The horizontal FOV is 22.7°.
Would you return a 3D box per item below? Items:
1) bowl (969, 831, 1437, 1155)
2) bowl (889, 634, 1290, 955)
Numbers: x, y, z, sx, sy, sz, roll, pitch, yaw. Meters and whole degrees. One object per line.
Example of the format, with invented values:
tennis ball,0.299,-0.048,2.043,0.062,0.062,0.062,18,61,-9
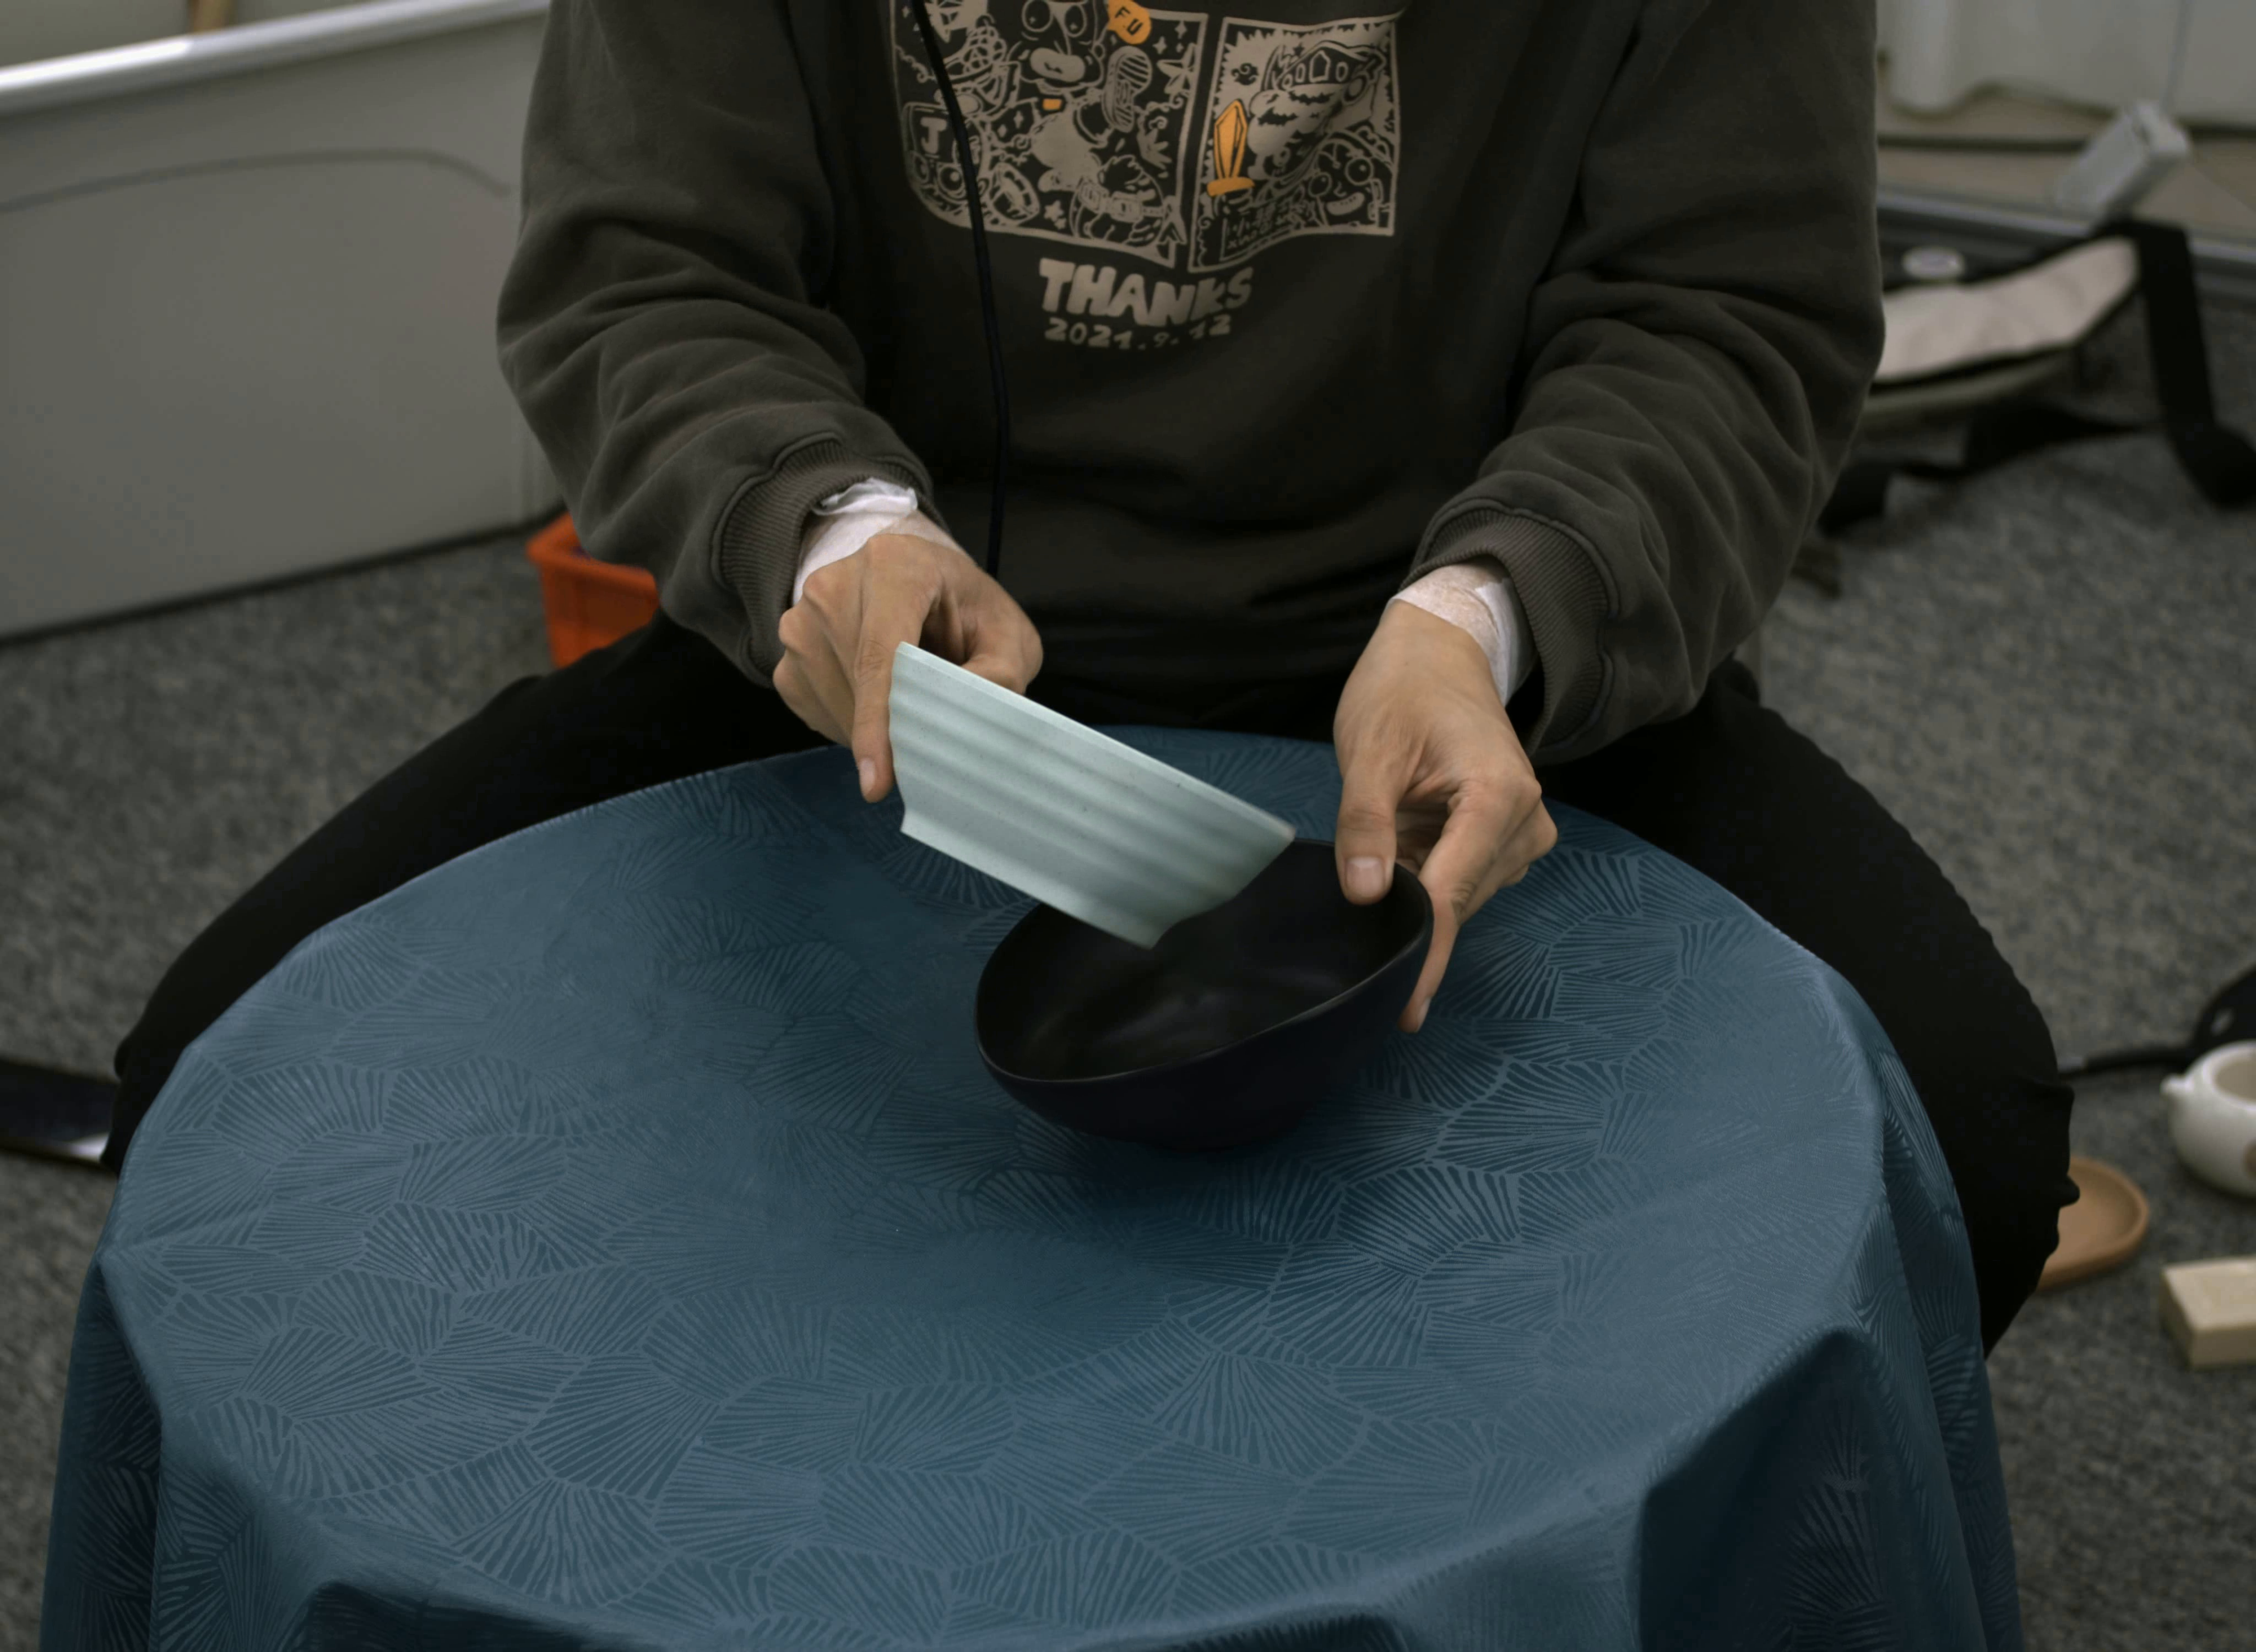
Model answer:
bowl,0.028,0.066,1.885,0.172,0.066,0.137,-27,32,-32
bowl,-0.023,-0.004,1.865,0.151,0.059,0.151,29,1,0
